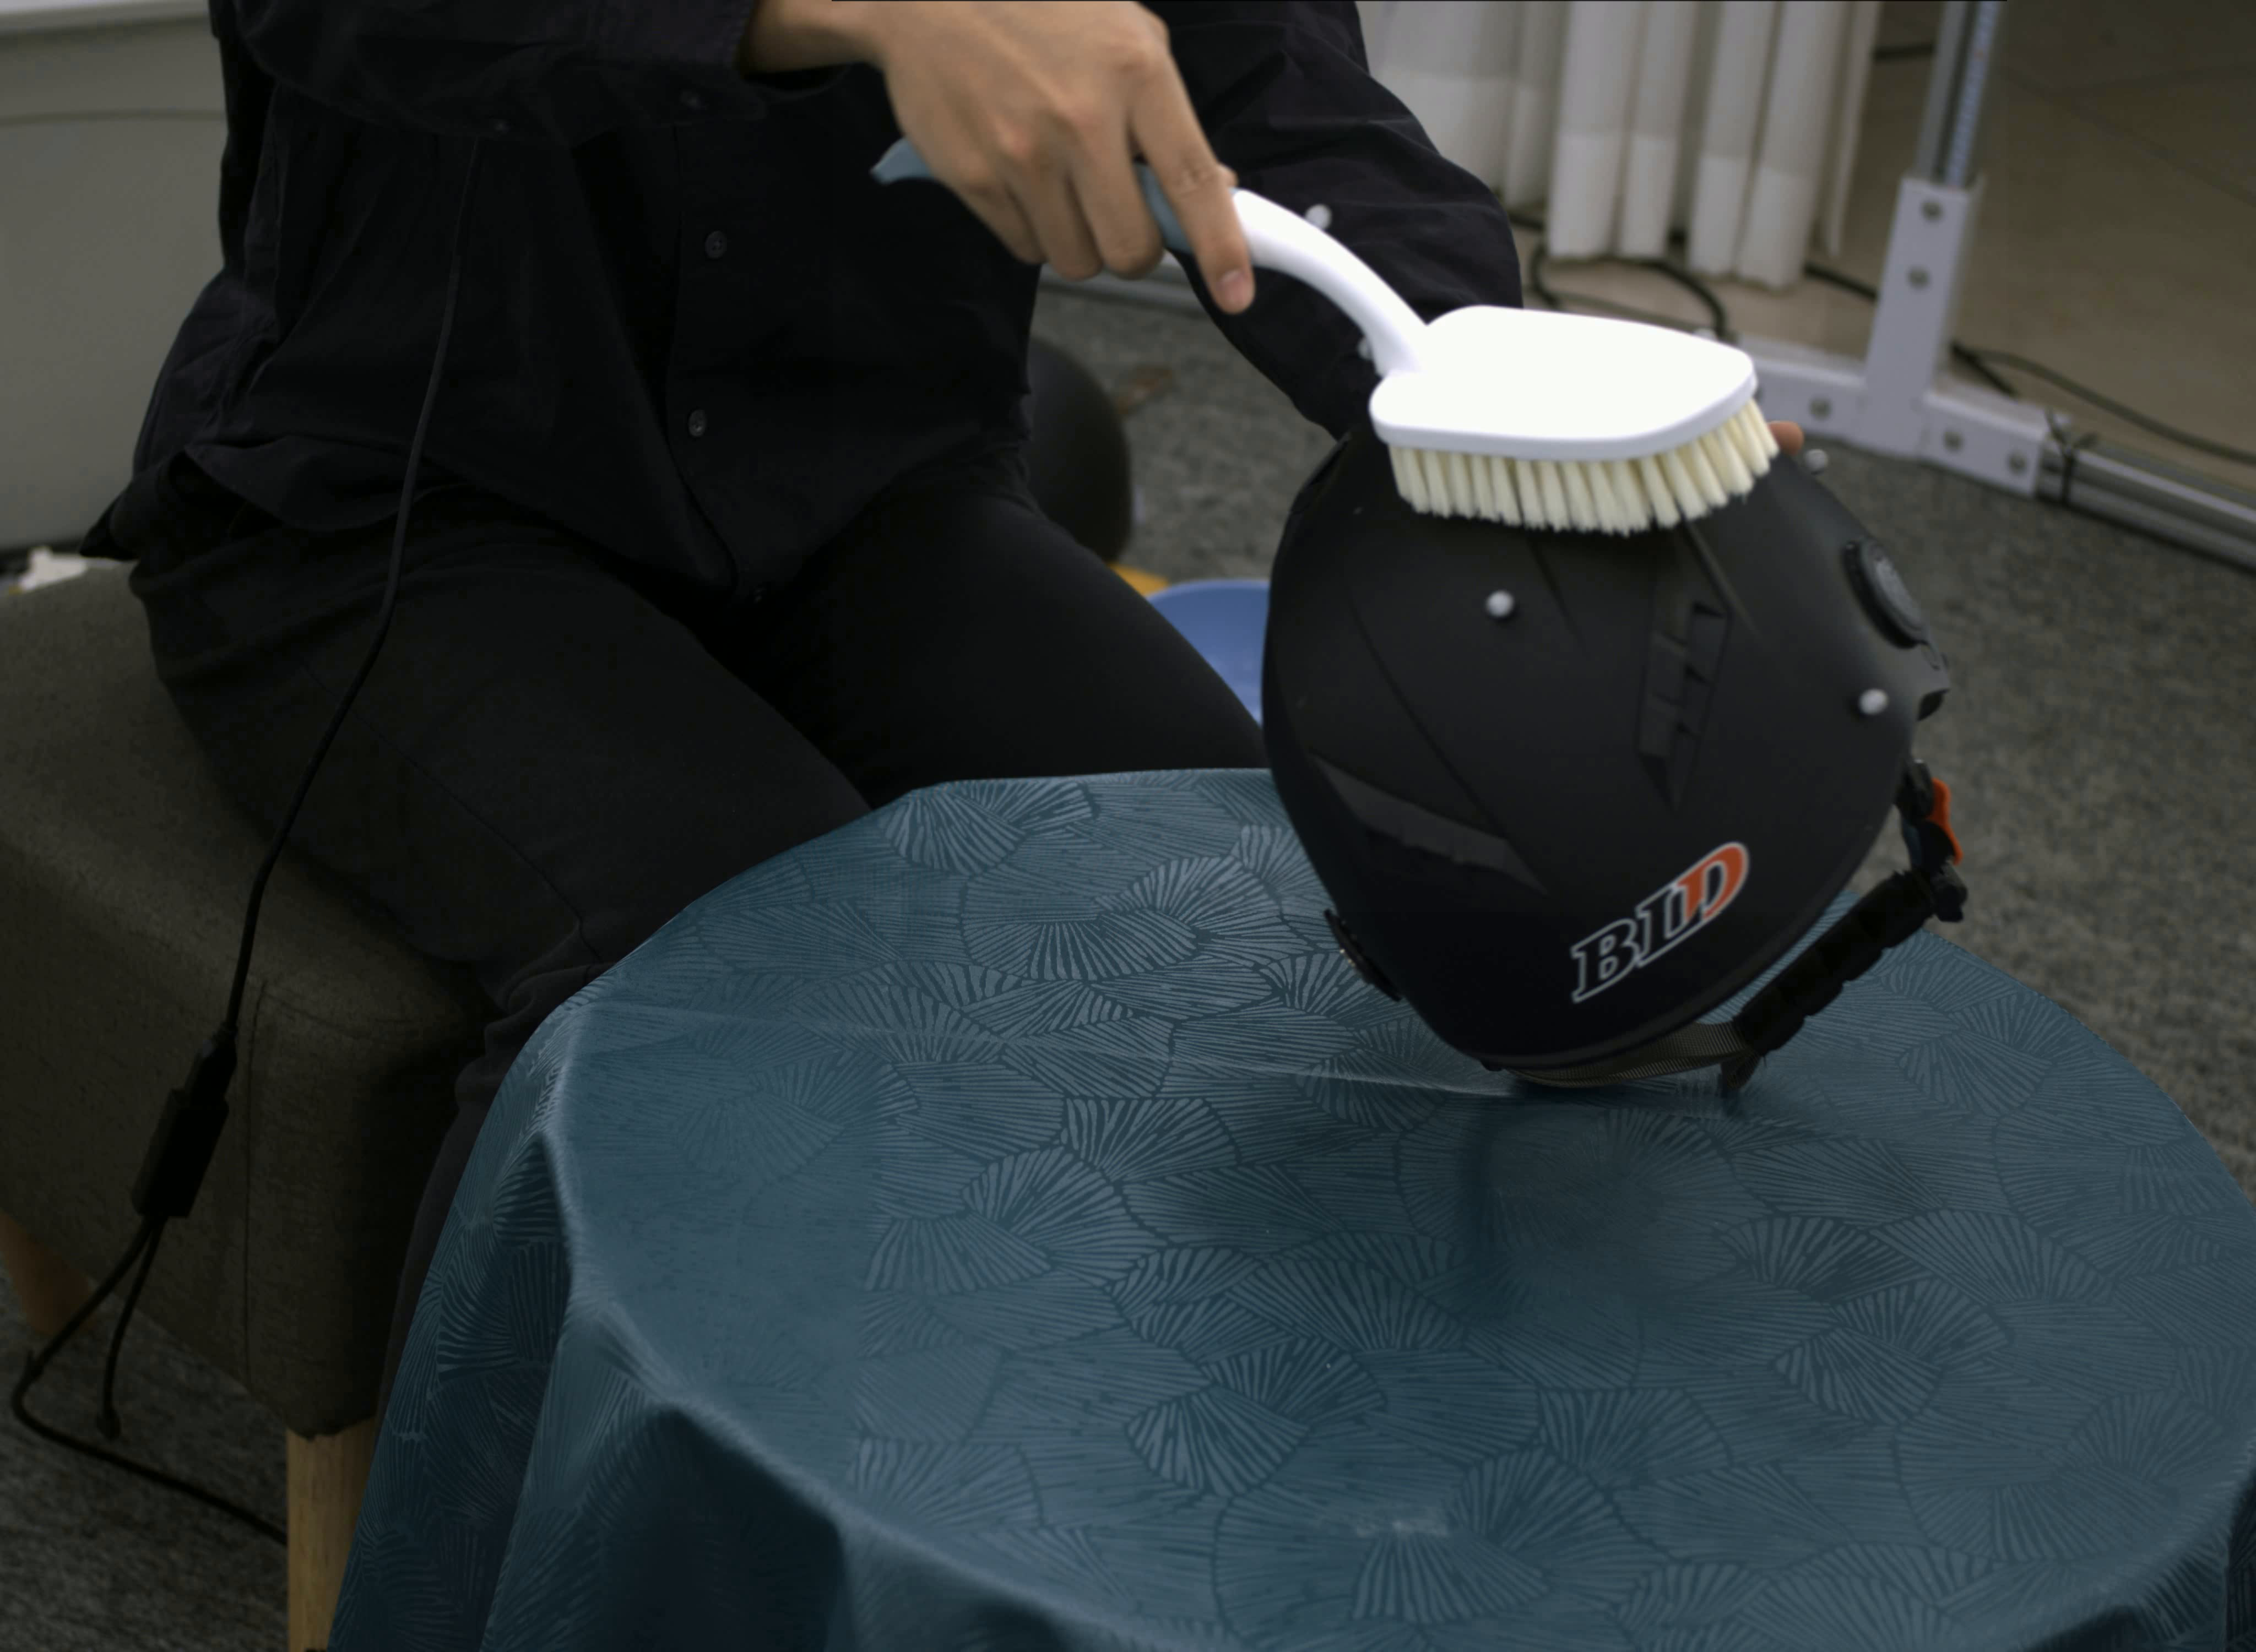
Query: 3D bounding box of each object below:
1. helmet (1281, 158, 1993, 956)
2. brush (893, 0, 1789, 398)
[{"bbox_3d":[0.154,-0.100,1.804,0.246,0.171,0.279,-35,31,16],"label":"helmet"},{"bbox_3d":[0.067,-0.202,1.770,0.327,0.084,0.082,18,10,24],"label":"brush"}]
